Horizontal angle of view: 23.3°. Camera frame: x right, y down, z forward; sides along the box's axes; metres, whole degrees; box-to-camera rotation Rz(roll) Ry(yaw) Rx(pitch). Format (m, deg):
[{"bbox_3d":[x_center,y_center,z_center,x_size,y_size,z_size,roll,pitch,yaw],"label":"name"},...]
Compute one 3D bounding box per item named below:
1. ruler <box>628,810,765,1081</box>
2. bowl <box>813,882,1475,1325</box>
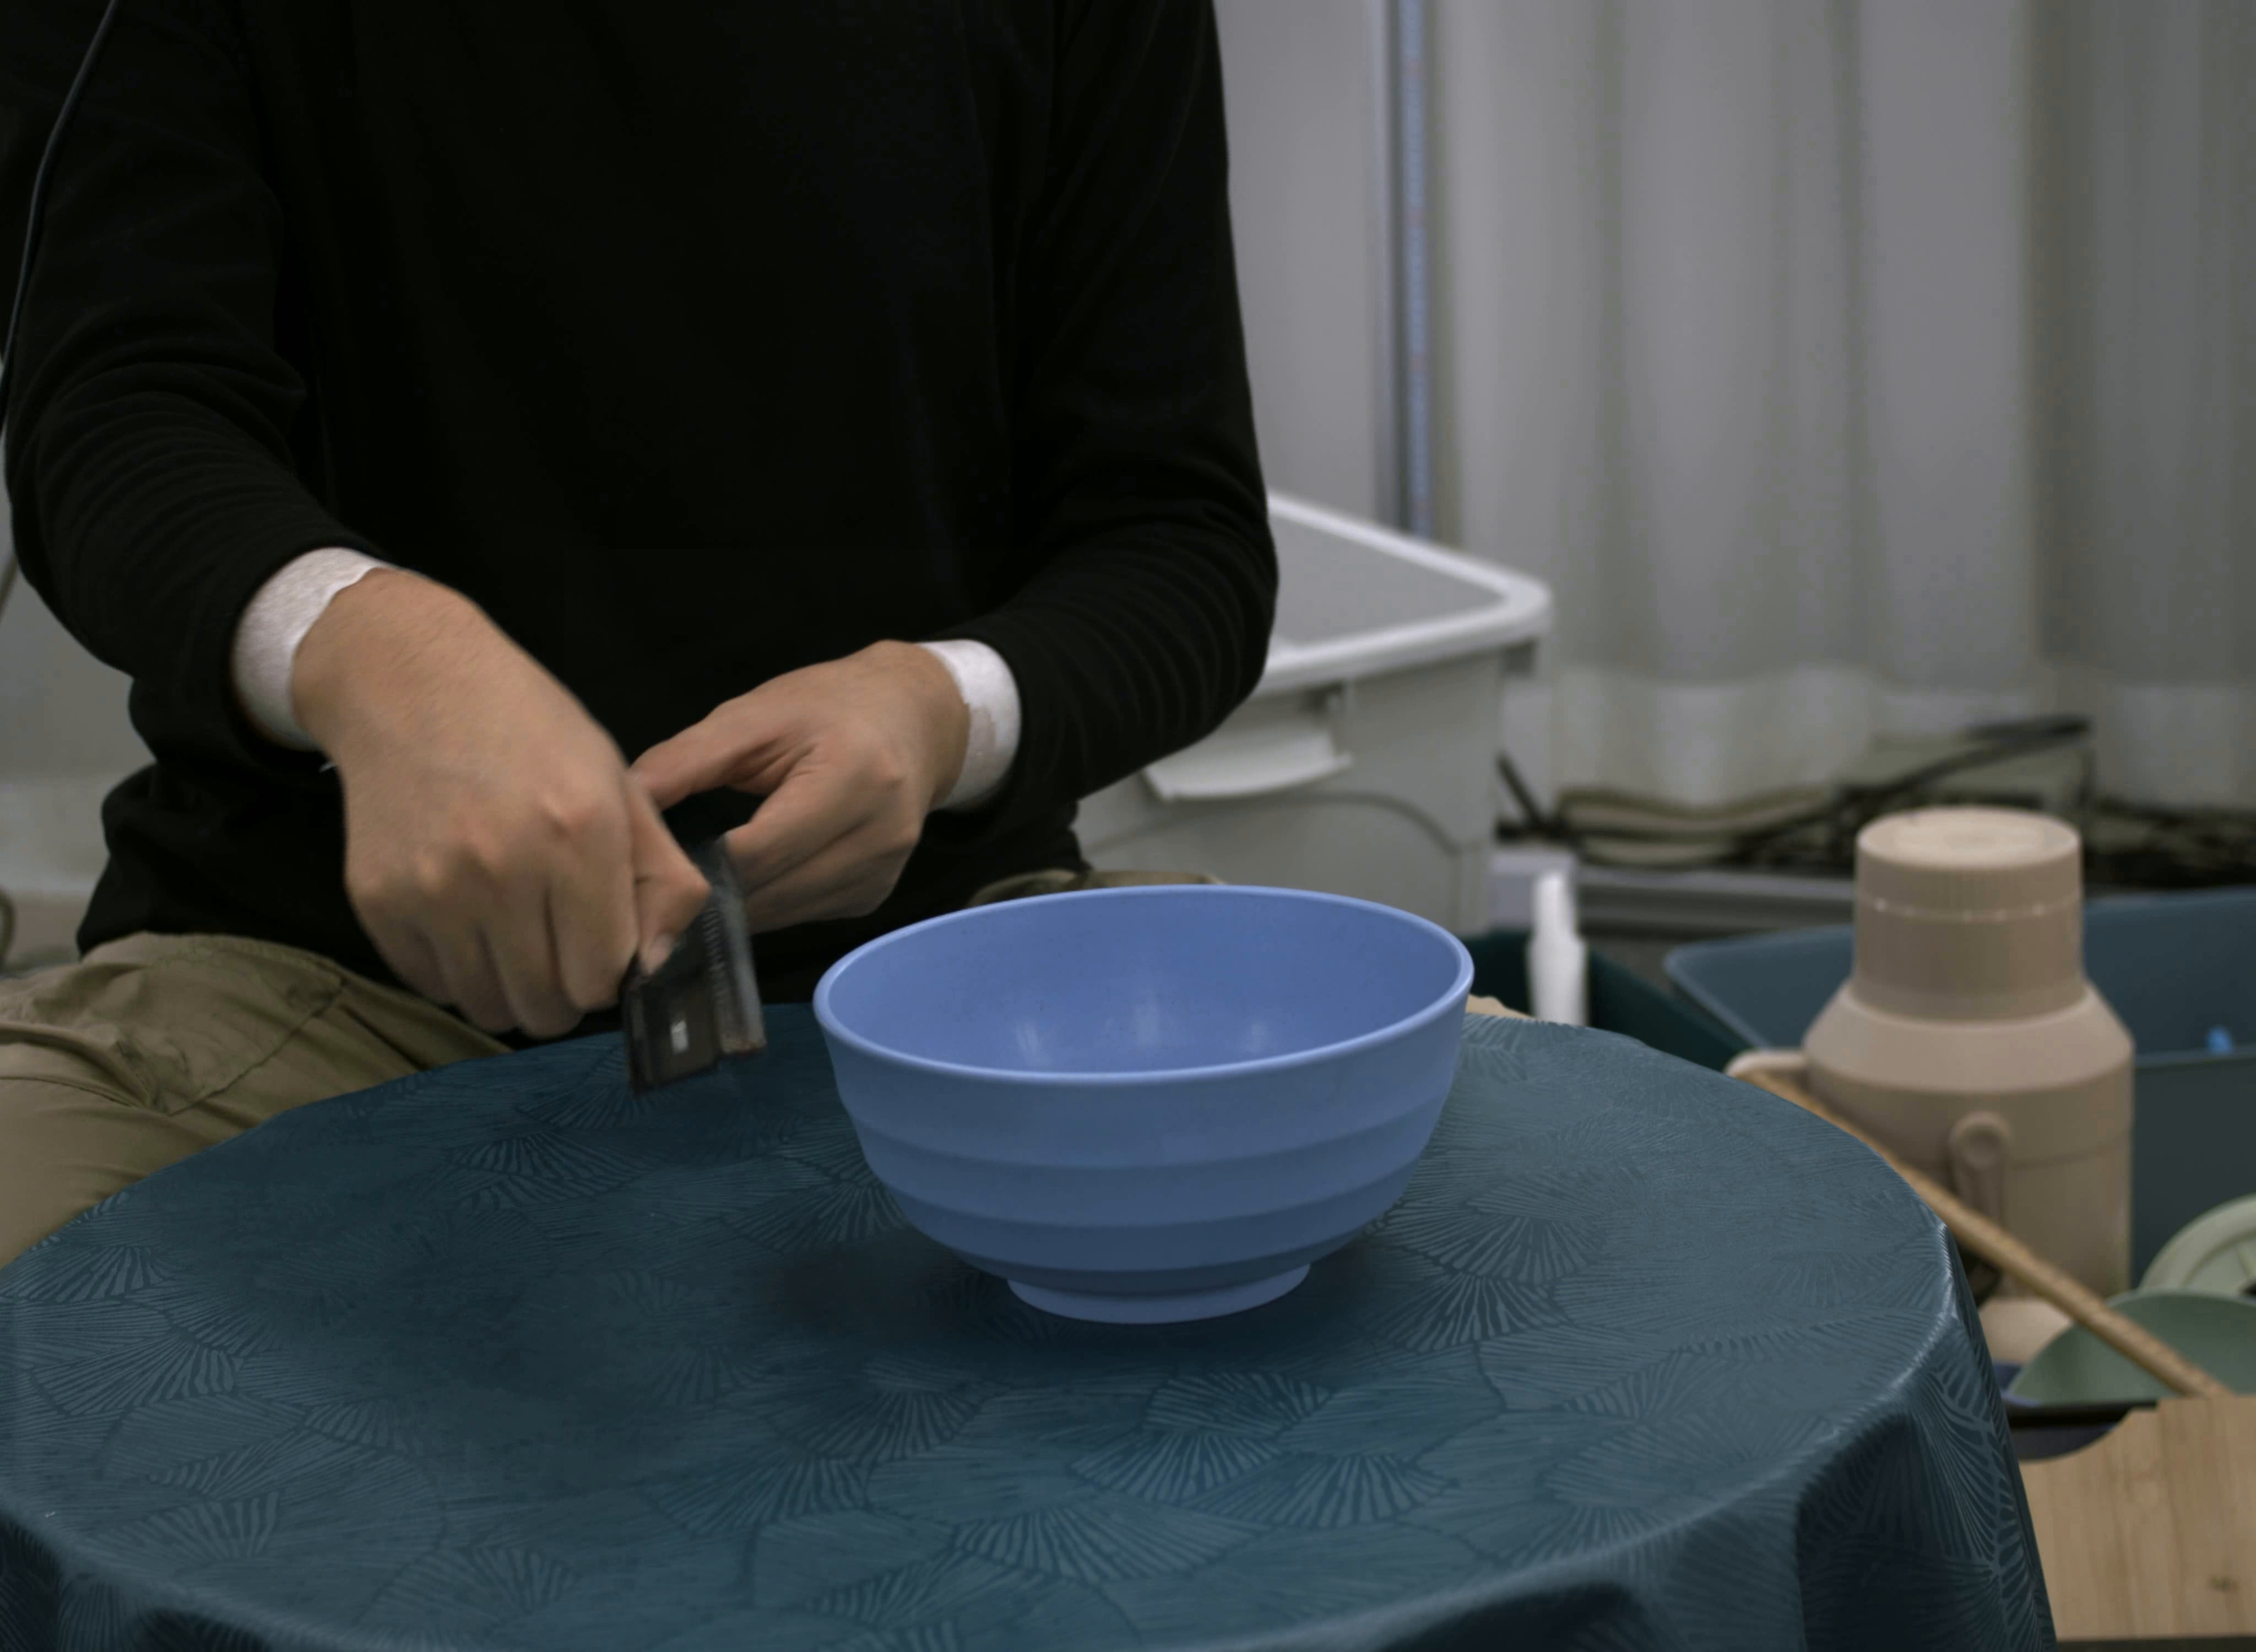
[{"bbox_3d":[-0.126,0.027,1.601,0.039,0.017,0.314,-14,11,-1],"label":"ruler"},{"bbox_3d":[0.006,0.088,1.627,0.196,0.095,0.198,-2,15,0],"label":"bowl"}]
